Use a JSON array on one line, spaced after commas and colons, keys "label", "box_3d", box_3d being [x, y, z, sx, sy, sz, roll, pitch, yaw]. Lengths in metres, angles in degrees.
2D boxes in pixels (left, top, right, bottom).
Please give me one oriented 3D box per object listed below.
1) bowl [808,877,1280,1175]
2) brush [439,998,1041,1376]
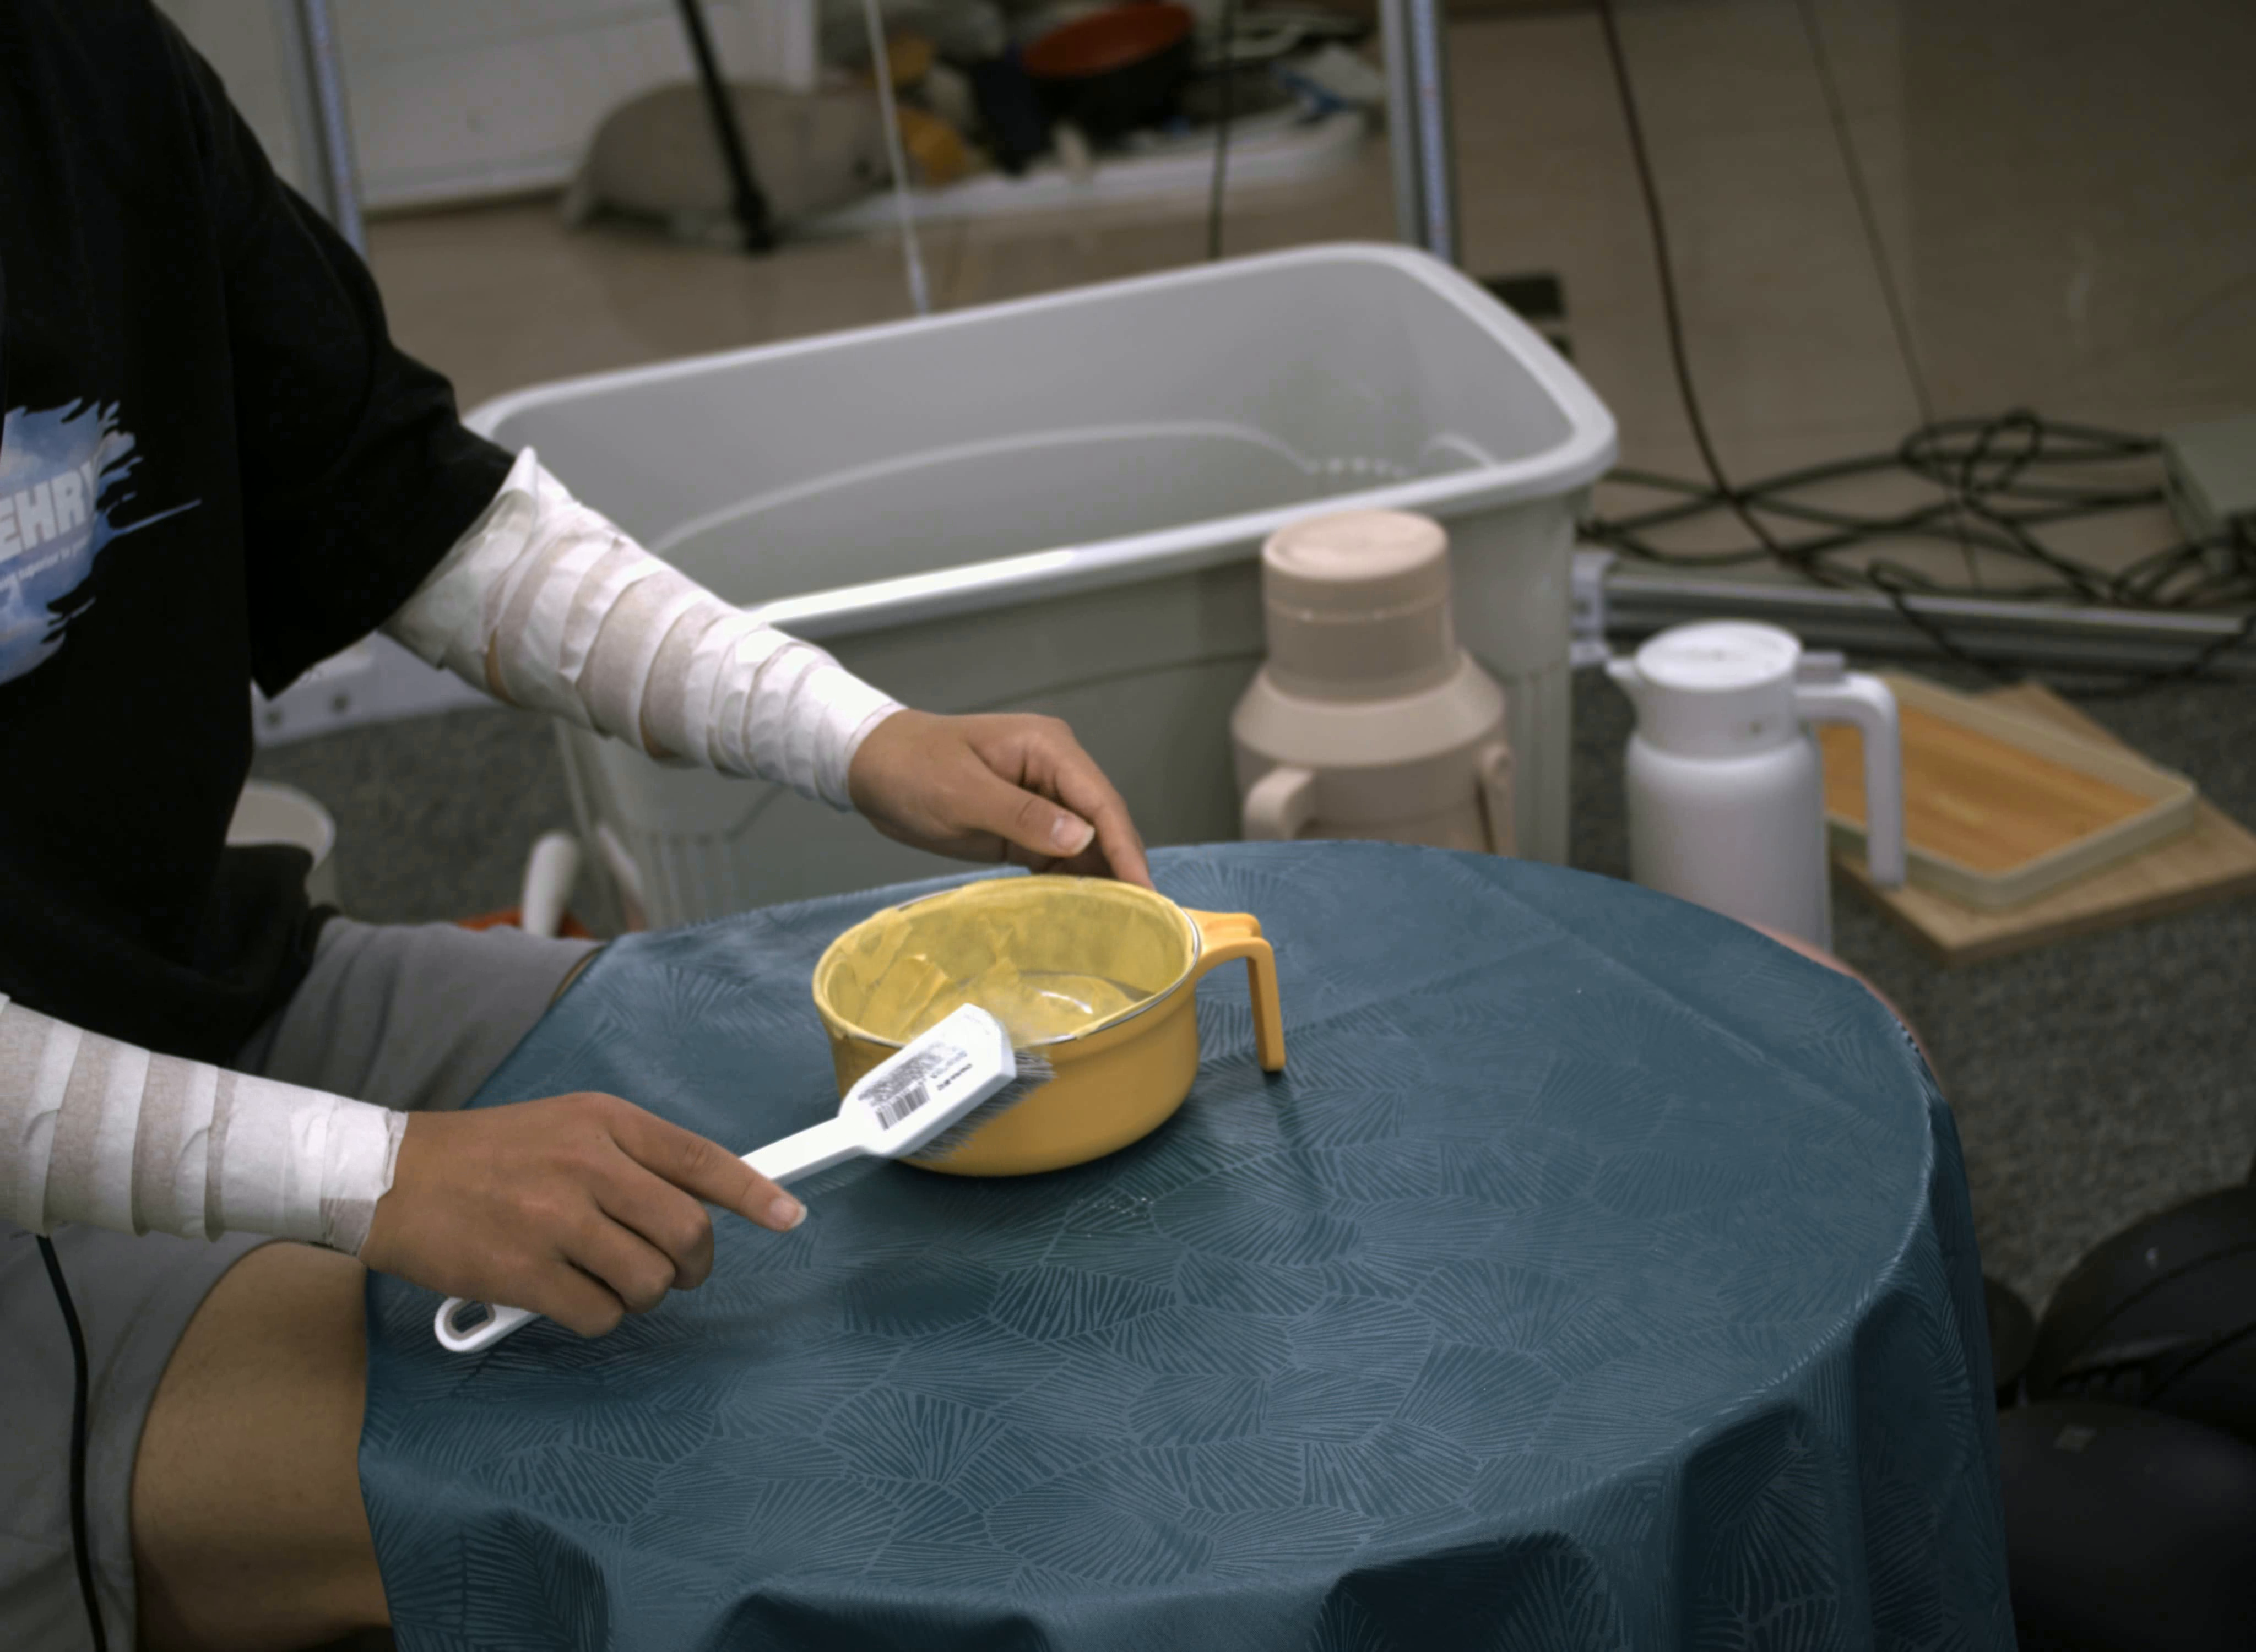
[{"label": "bowl", "box_3d": [-0.031, 0.079, 2.203, 0.179, 0.075, 0.151, -11, 21, -10]}, {"label": "brush", "box_3d": [-0.142, 0.137, 2.083, 0.243, 0.051, 0.034, -32, 68, 1]}]
